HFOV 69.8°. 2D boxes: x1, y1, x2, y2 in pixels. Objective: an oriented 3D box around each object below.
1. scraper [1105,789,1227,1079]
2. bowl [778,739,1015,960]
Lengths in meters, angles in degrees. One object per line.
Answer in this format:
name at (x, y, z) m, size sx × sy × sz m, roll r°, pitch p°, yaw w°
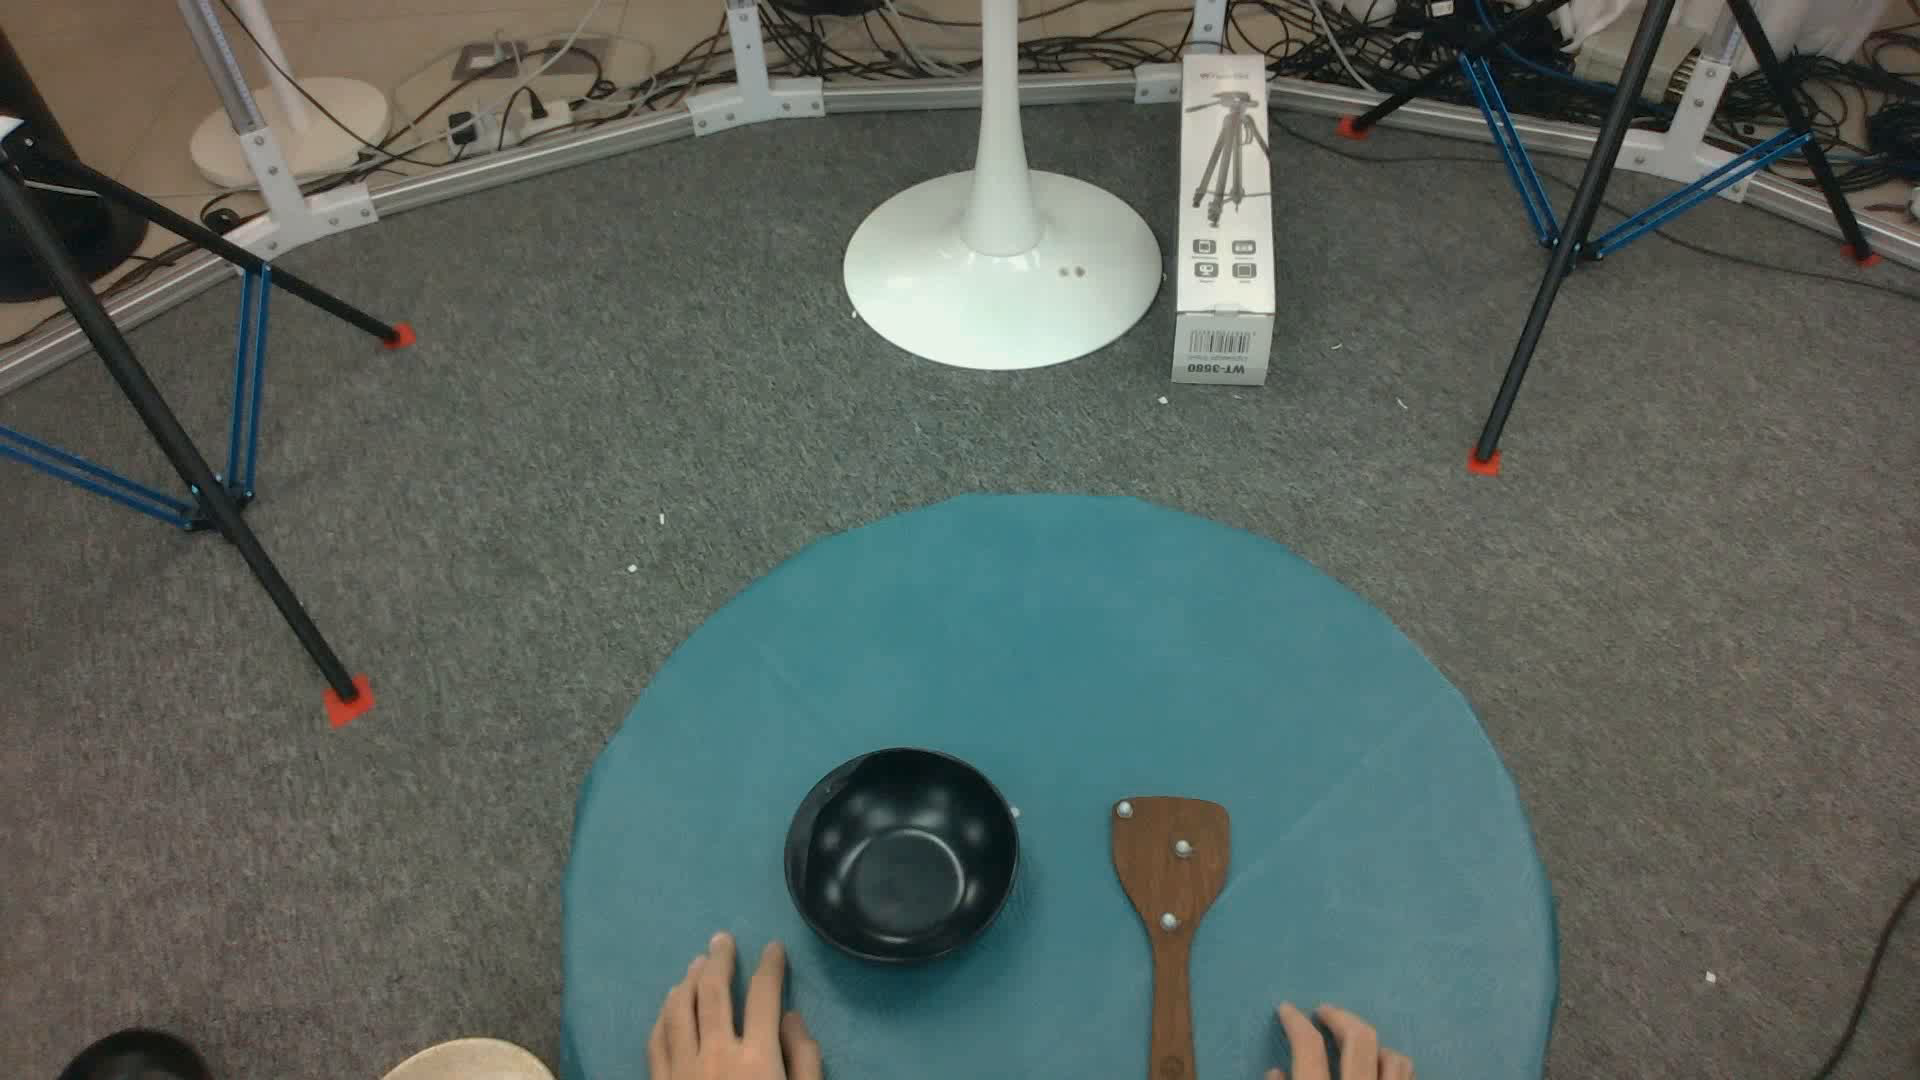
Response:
scraper at (0.120, 0.240, 0.801) m, size 0.076 × 0.011 × 0.212 m, roll 3°, pitch 50°, yaw 5°
bowl at (-0.038, 0.190, 0.821) m, size 0.140 × 0.049 × 0.140 m, roll 1°, pitch 50°, yaw -1°
